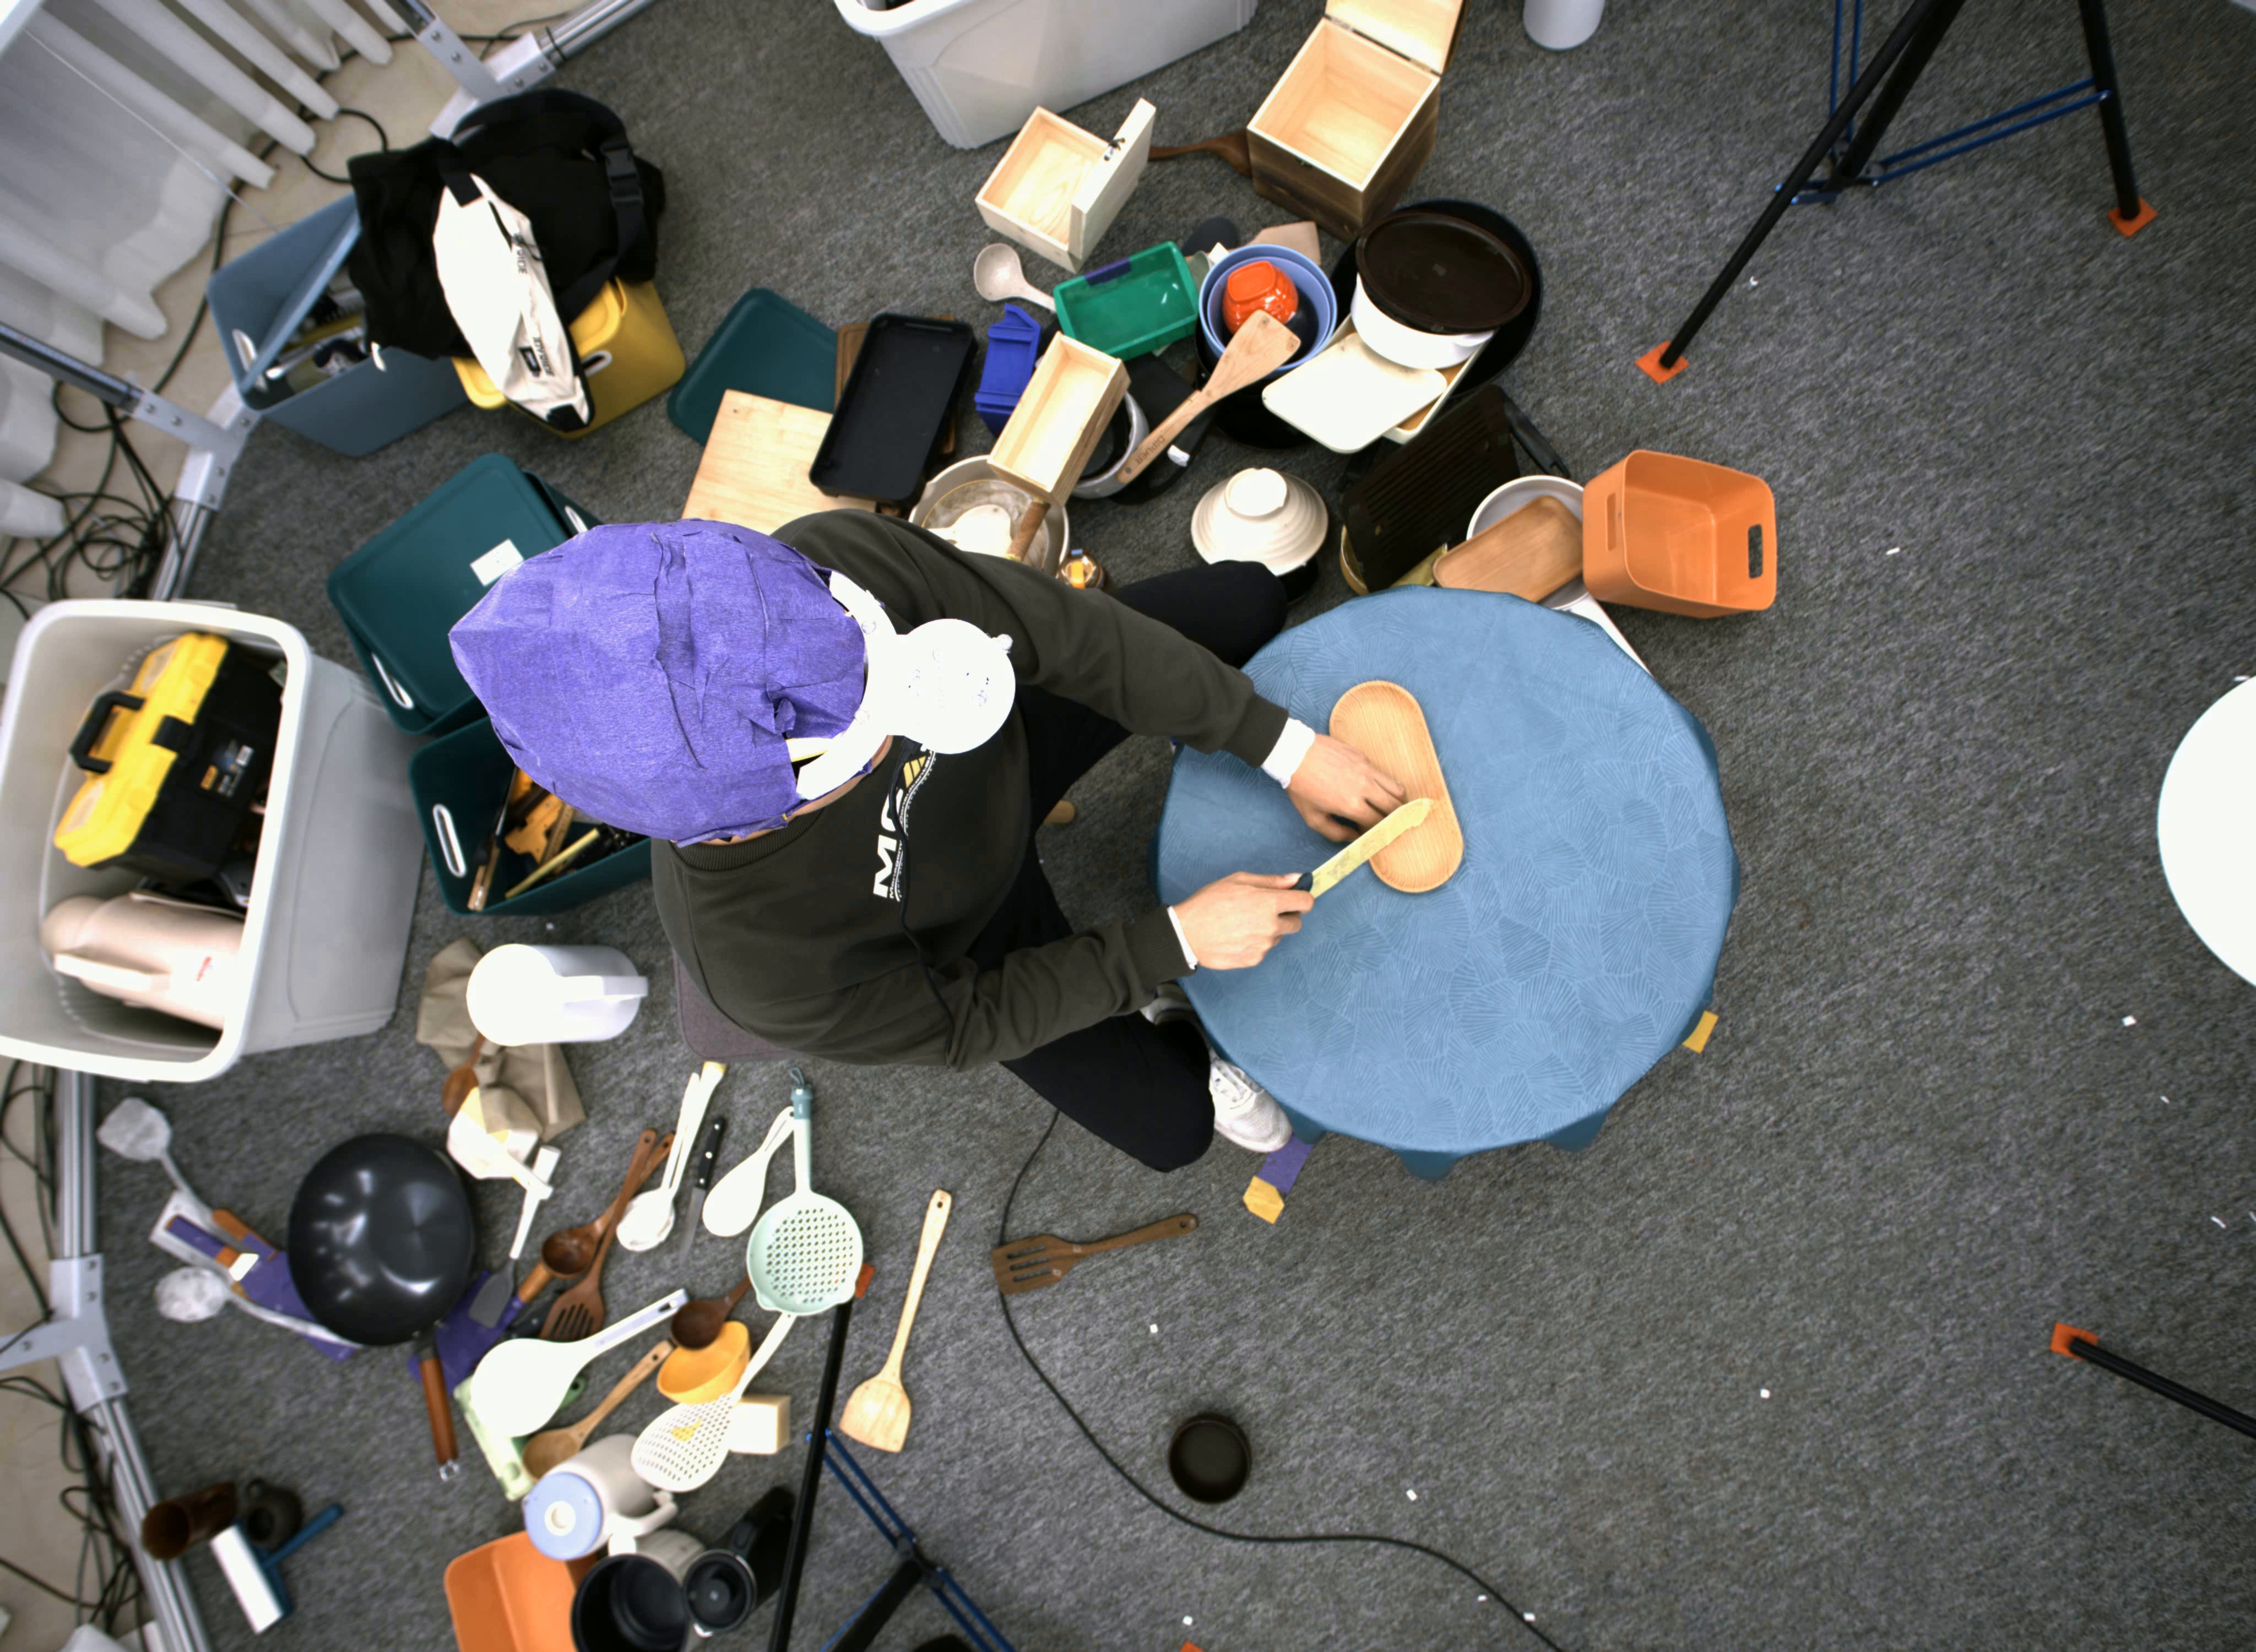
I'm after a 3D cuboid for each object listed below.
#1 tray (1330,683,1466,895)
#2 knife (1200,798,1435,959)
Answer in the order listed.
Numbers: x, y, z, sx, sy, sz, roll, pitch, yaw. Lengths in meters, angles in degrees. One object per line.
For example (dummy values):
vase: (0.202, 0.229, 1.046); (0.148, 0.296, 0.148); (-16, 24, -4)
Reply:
tray: (0.284, -0.041, 1.456); (0.102, 0.020, 0.230); (-18, 86, 11)
knife: (0.197, 0.051, 1.411); (0.289, 0.082, 0.027); (-33, 64, -2)
